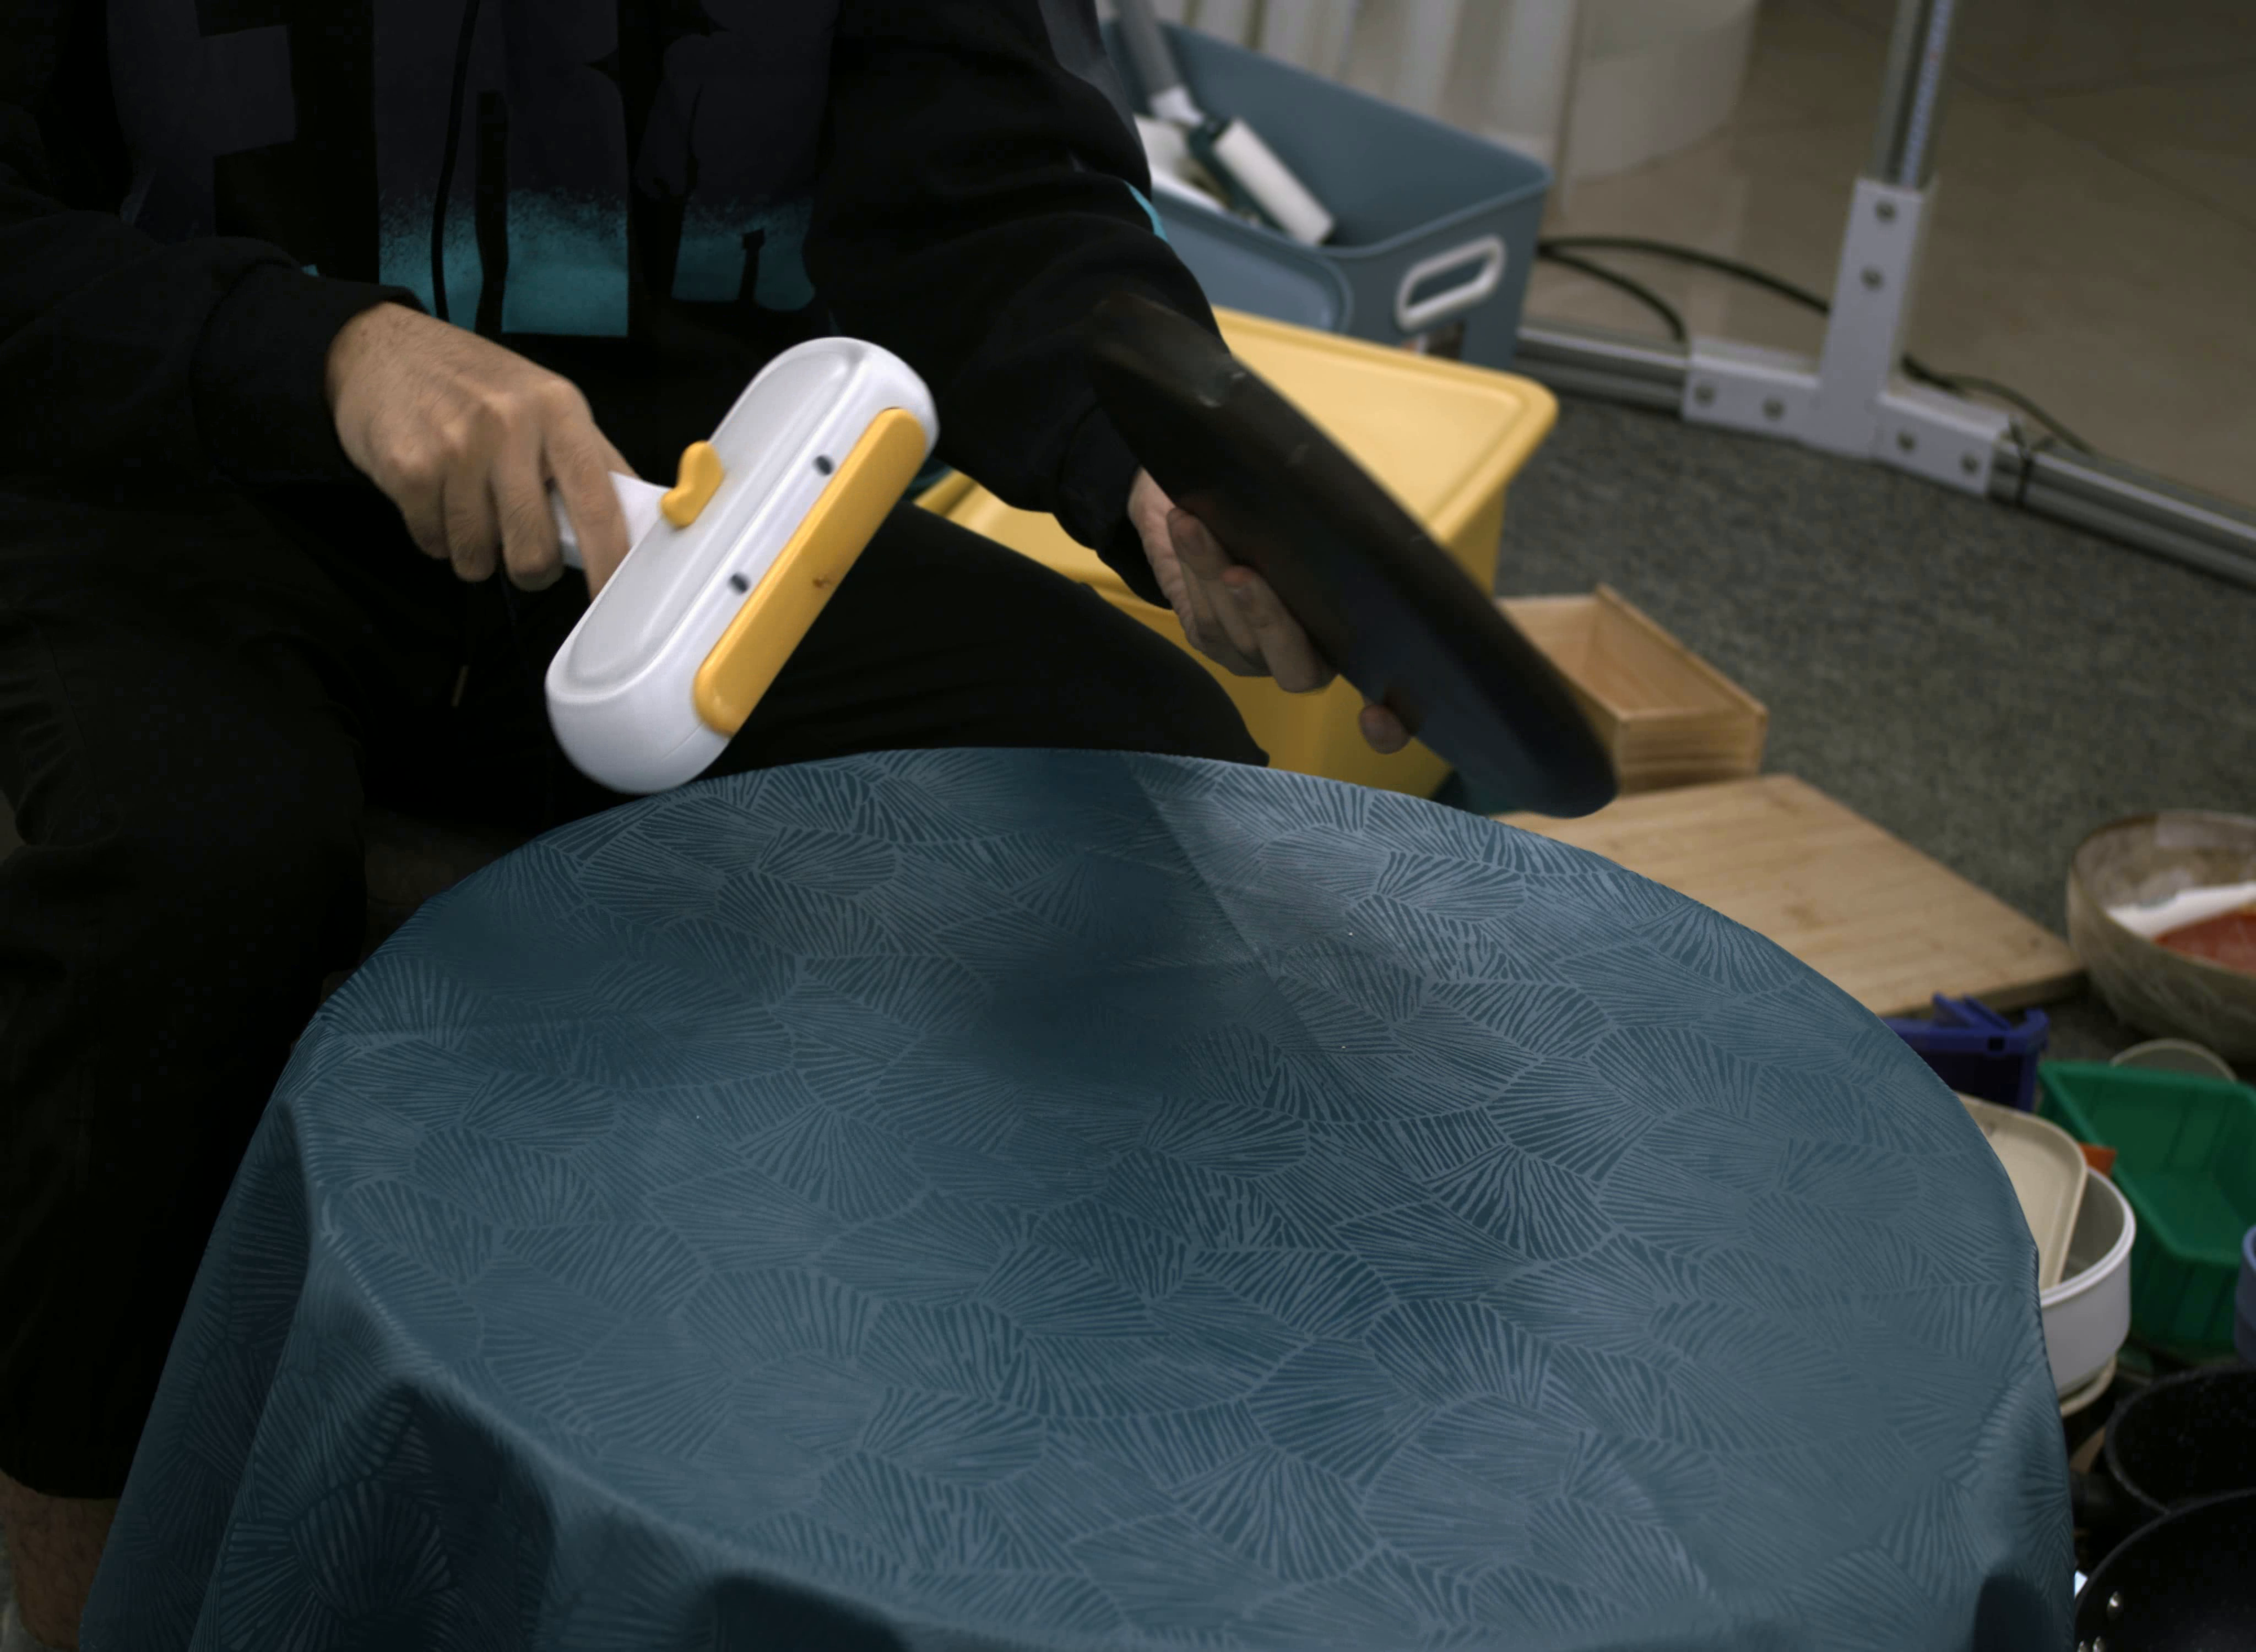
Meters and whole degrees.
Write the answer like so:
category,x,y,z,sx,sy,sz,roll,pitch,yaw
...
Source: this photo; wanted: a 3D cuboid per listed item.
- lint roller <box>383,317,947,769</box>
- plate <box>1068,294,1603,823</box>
category,x,y,z,sx,sy,sz,roll,pitch,yaw
lint roller,-0.182,-0.110,1.913,0.193,0.073,0.193,5,55,35
plate,0.070,-0.090,1.872,0.029,0.252,0.257,-46,44,-5
